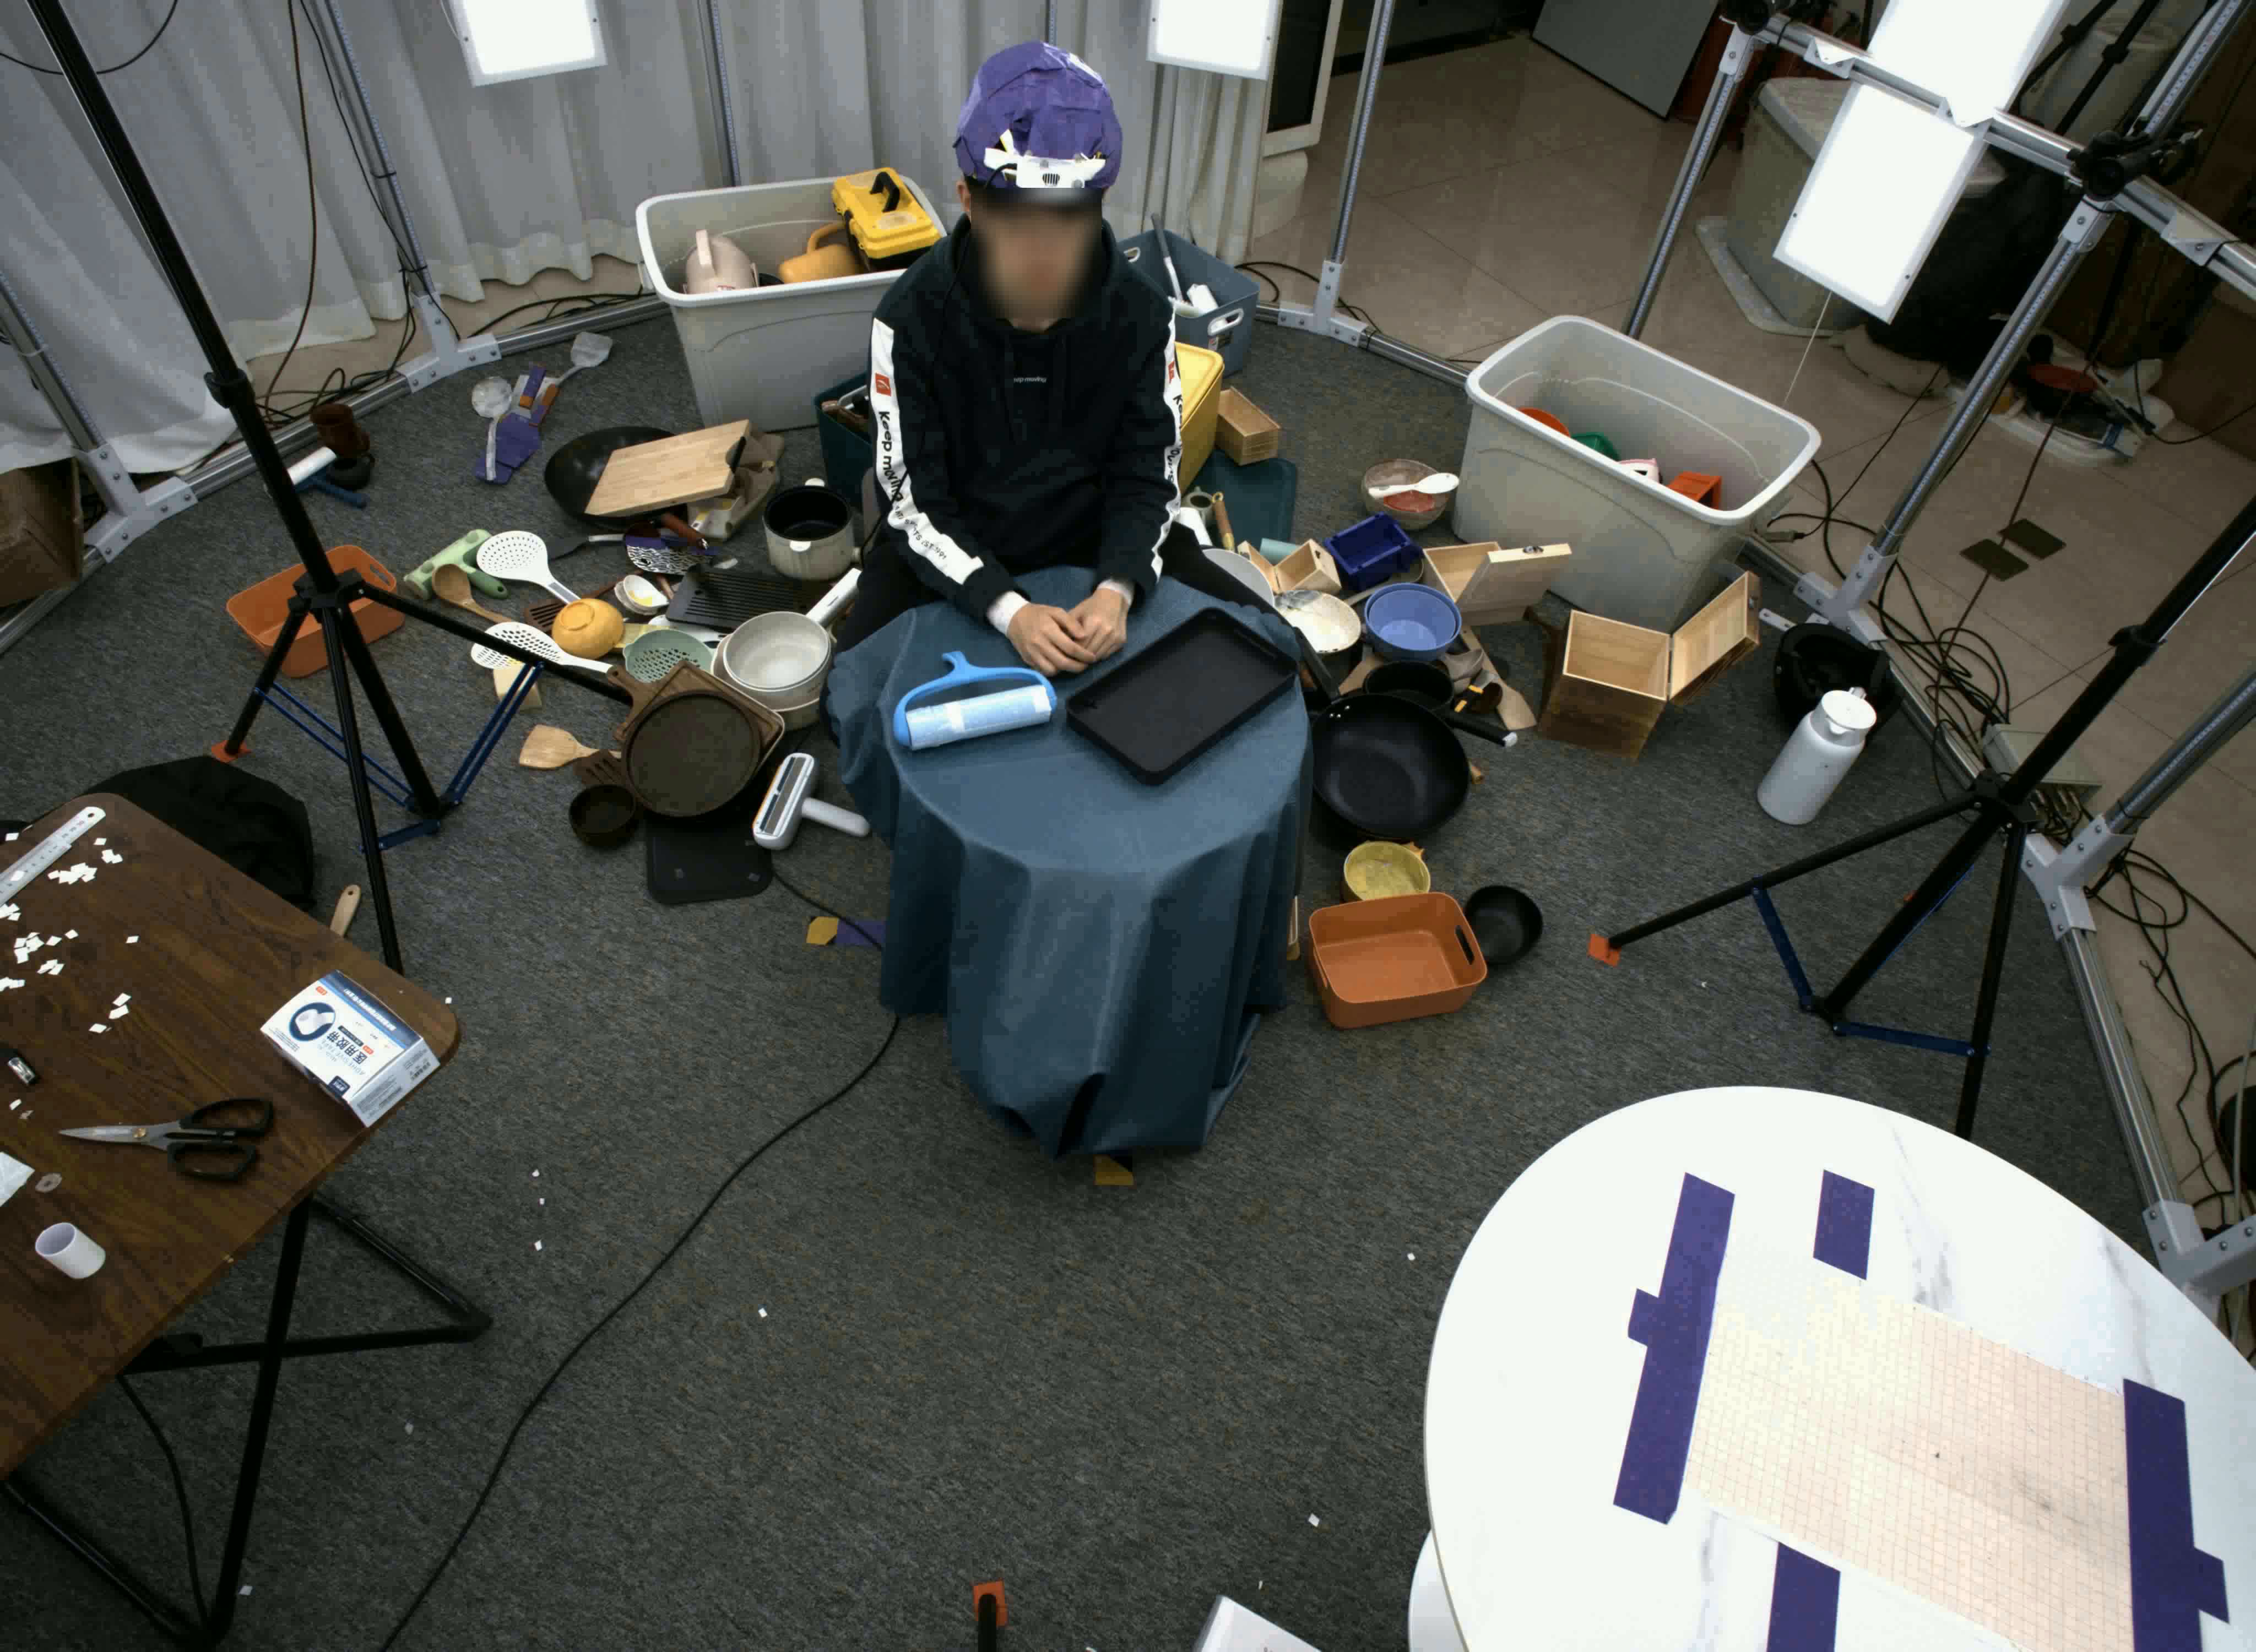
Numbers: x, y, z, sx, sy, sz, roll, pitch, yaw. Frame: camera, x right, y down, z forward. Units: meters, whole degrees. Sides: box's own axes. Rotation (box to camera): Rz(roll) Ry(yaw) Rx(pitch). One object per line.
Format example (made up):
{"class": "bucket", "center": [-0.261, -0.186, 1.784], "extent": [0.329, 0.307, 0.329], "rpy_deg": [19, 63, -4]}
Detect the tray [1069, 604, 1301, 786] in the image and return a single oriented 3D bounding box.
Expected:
{"class": "tray", "center": [0.083, -0.192, 1.817], "extent": [0.187, 0.036, 0.321], "rpy_deg": [36, 57, 25]}

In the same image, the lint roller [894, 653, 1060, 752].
{"class": "lint roller", "center": [-0.226, -0.193, 1.783], "extent": [0.229, 0.066, 0.184], "rpy_deg": [-16, 53, -15]}
